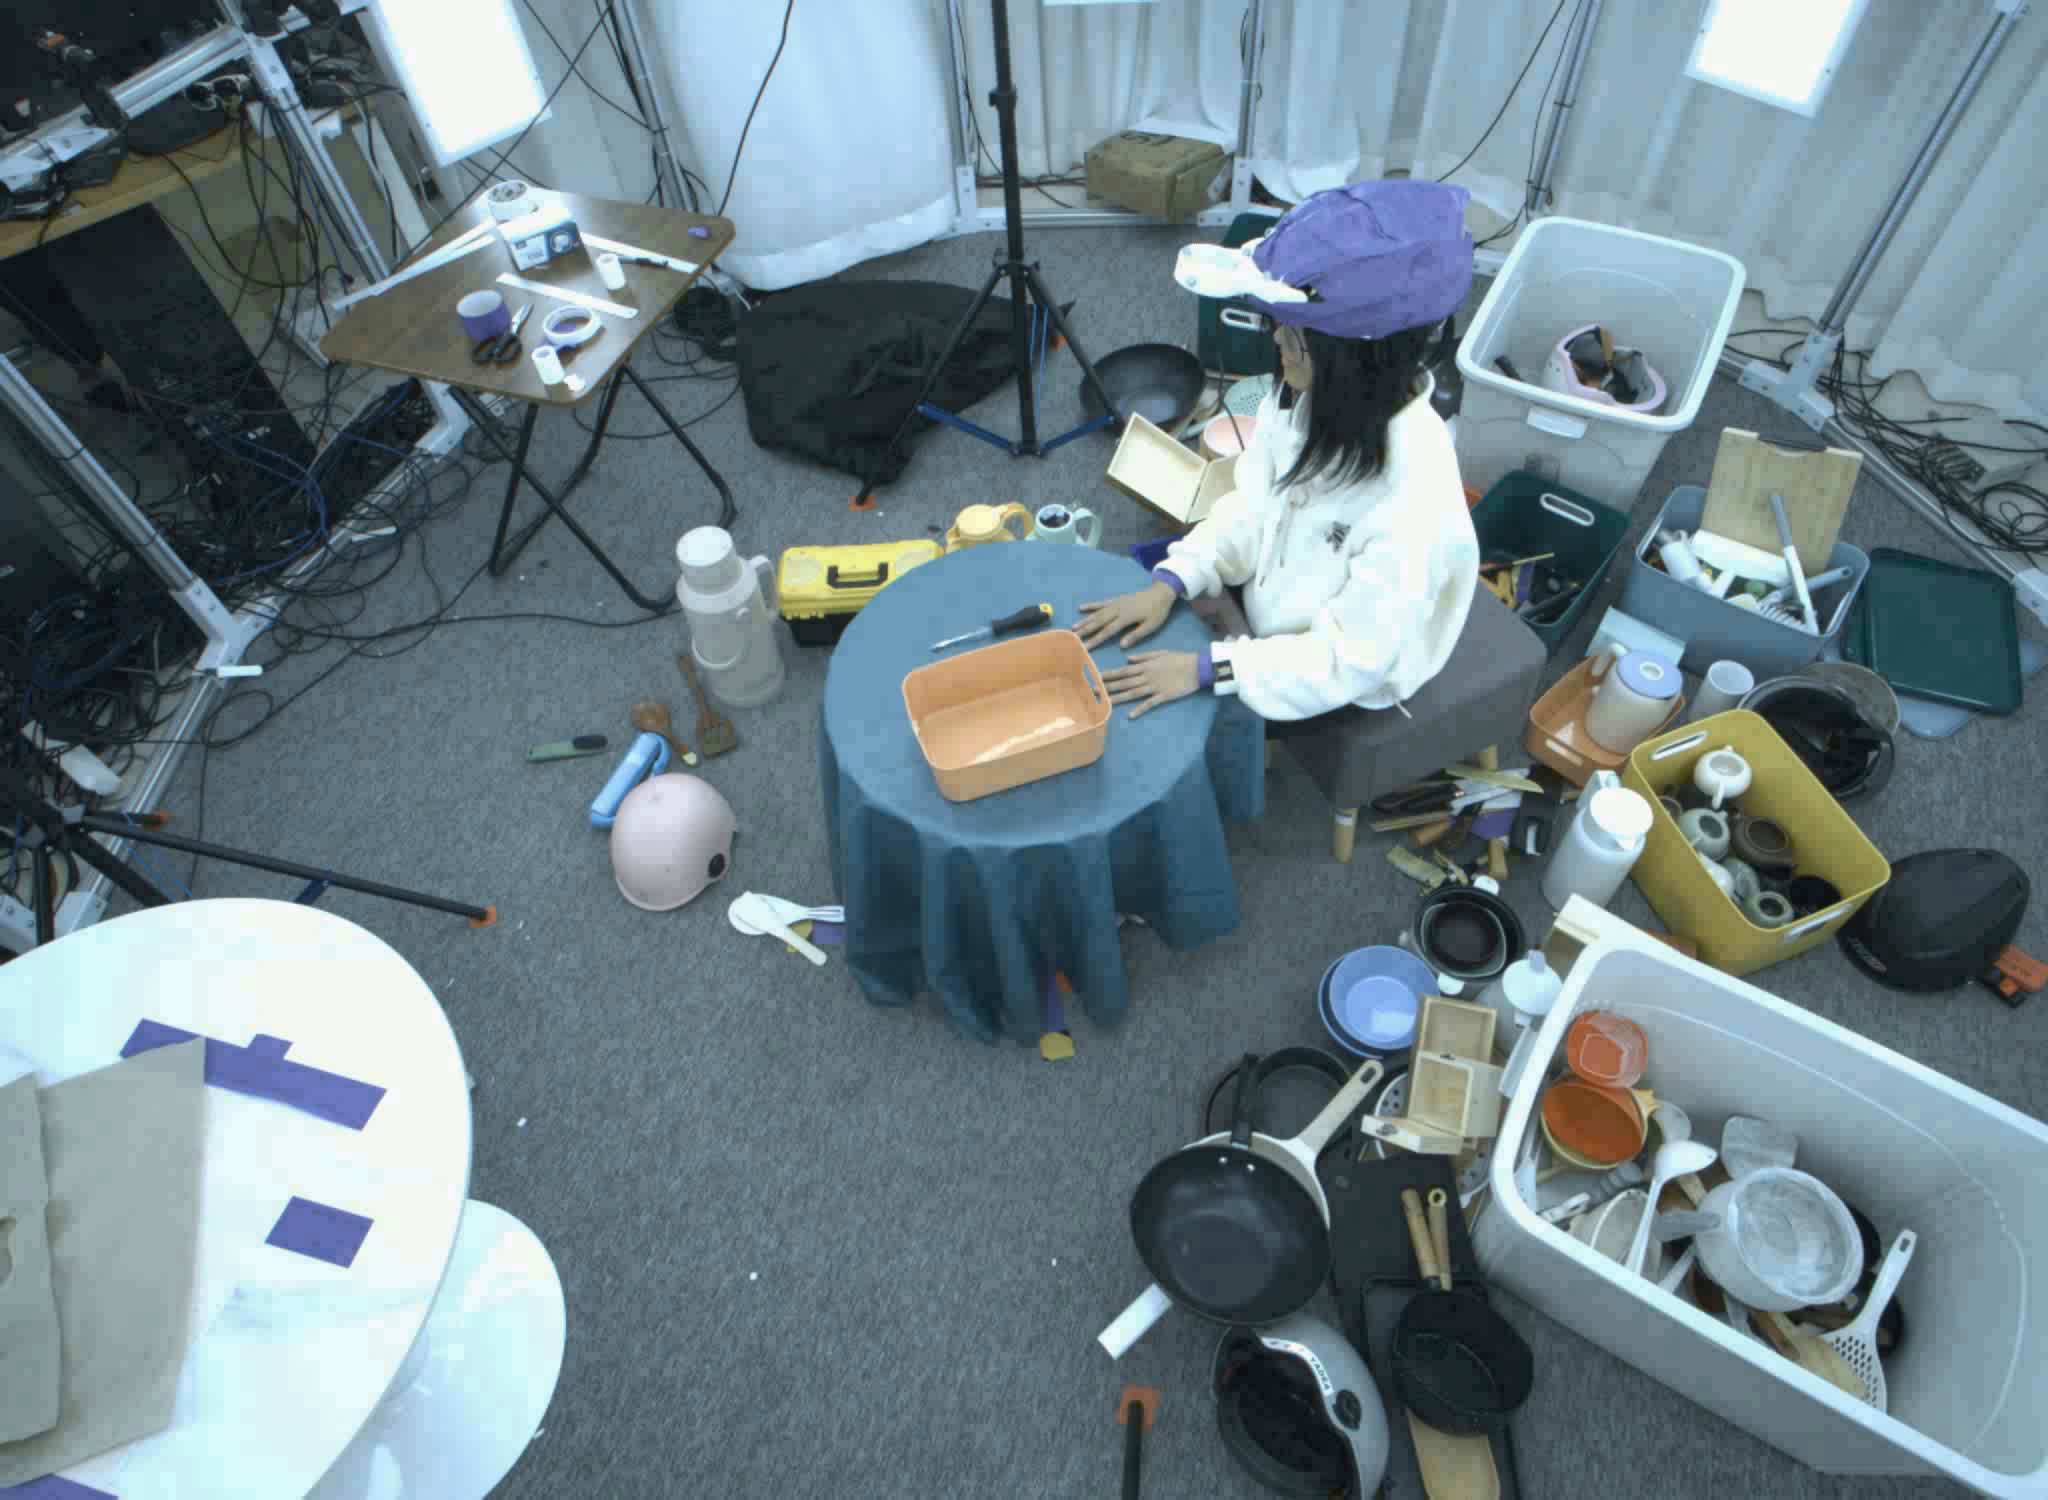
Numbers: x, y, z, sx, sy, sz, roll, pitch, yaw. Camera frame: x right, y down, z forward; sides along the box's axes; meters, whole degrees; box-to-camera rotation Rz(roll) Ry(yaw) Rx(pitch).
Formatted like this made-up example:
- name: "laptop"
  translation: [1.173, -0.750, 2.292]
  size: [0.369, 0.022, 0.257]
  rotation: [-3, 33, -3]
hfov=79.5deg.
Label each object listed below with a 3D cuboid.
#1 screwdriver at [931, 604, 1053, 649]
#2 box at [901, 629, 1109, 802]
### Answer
- name: "screwdriver"
  translation: [-0.051, -0.192, 1.913]
  size: [0.198, 0.032, 0.031]
  rotation: [-15, 56, -5]
- name: "box"
  translation: [-0.024, -0.045, 1.756]
  size: [0.275, 0.104, 0.196]
  rotation: [-17, 55, -9]
